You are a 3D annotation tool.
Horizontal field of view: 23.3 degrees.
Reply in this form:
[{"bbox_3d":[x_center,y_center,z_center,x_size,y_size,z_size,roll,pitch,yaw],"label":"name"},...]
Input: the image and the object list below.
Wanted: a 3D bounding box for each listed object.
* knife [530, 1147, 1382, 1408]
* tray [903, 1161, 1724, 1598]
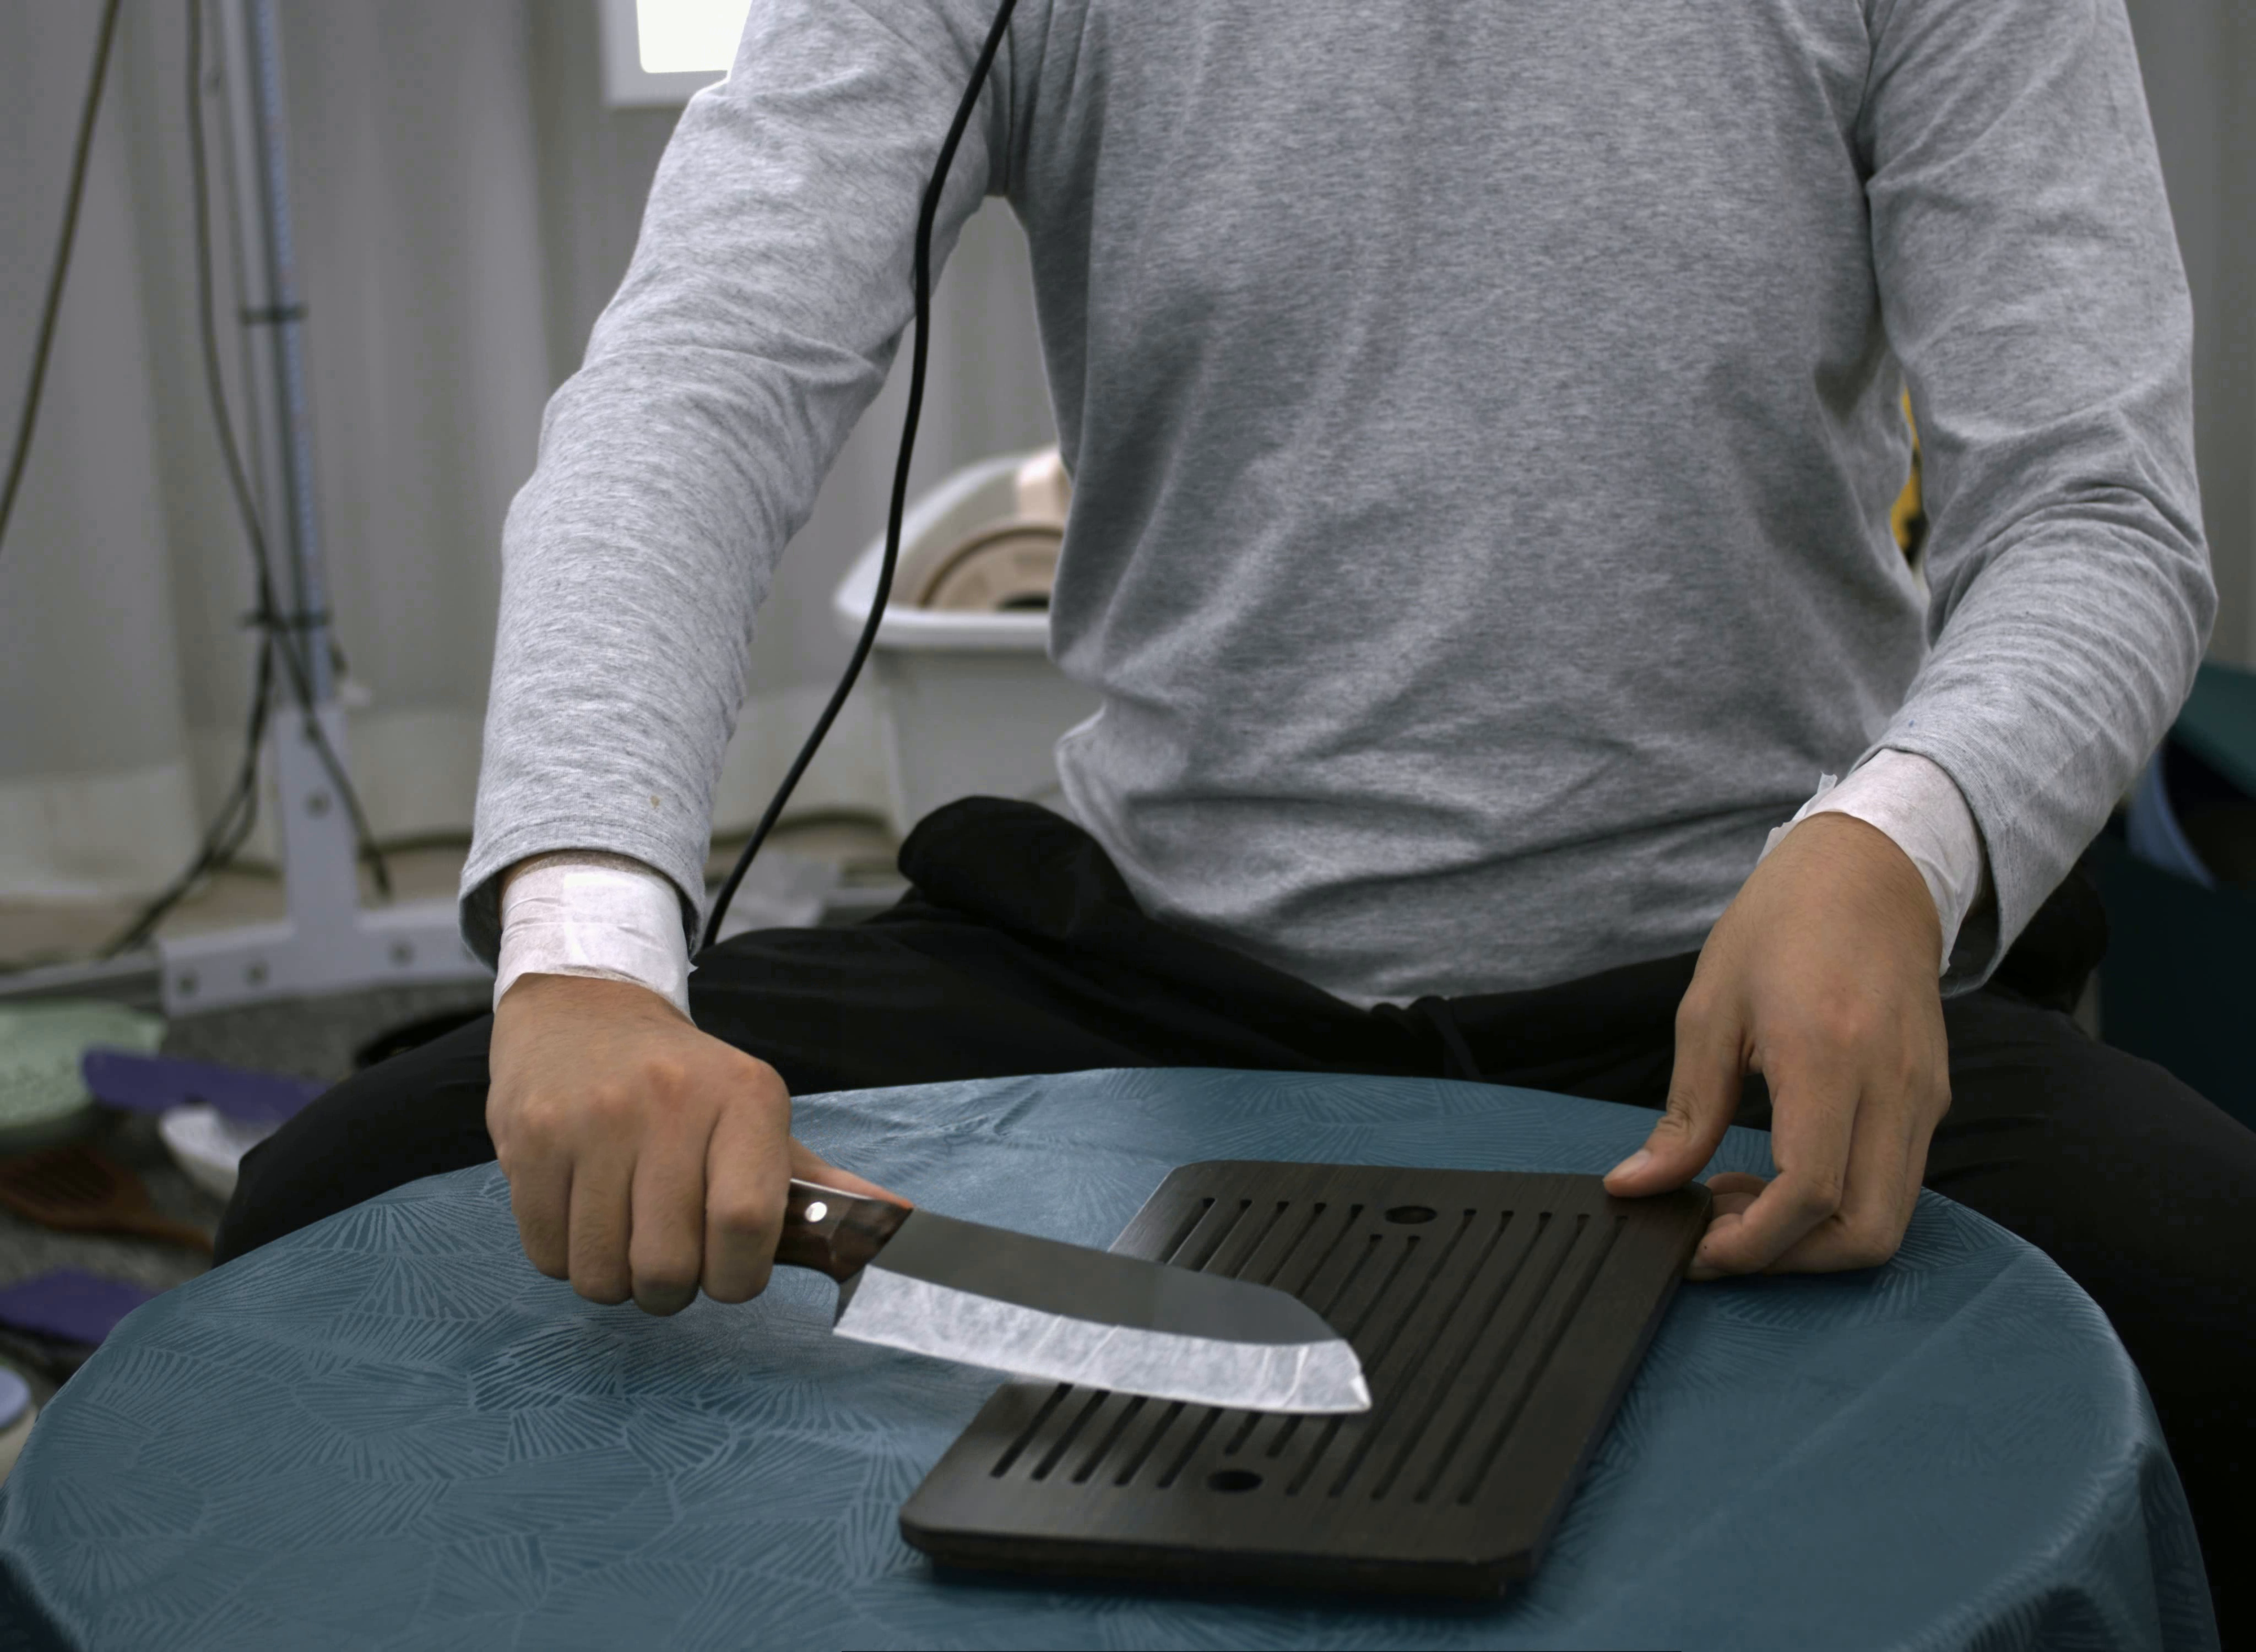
[{"bbox_3d":[-0.053,0.128,1.549,0.290,0.020,0.051,11,59,30],"label":"knife"},{"bbox_3d":[0.061,0.152,1.532,0.170,0.018,0.307,1,15,16],"label":"tray"}]
